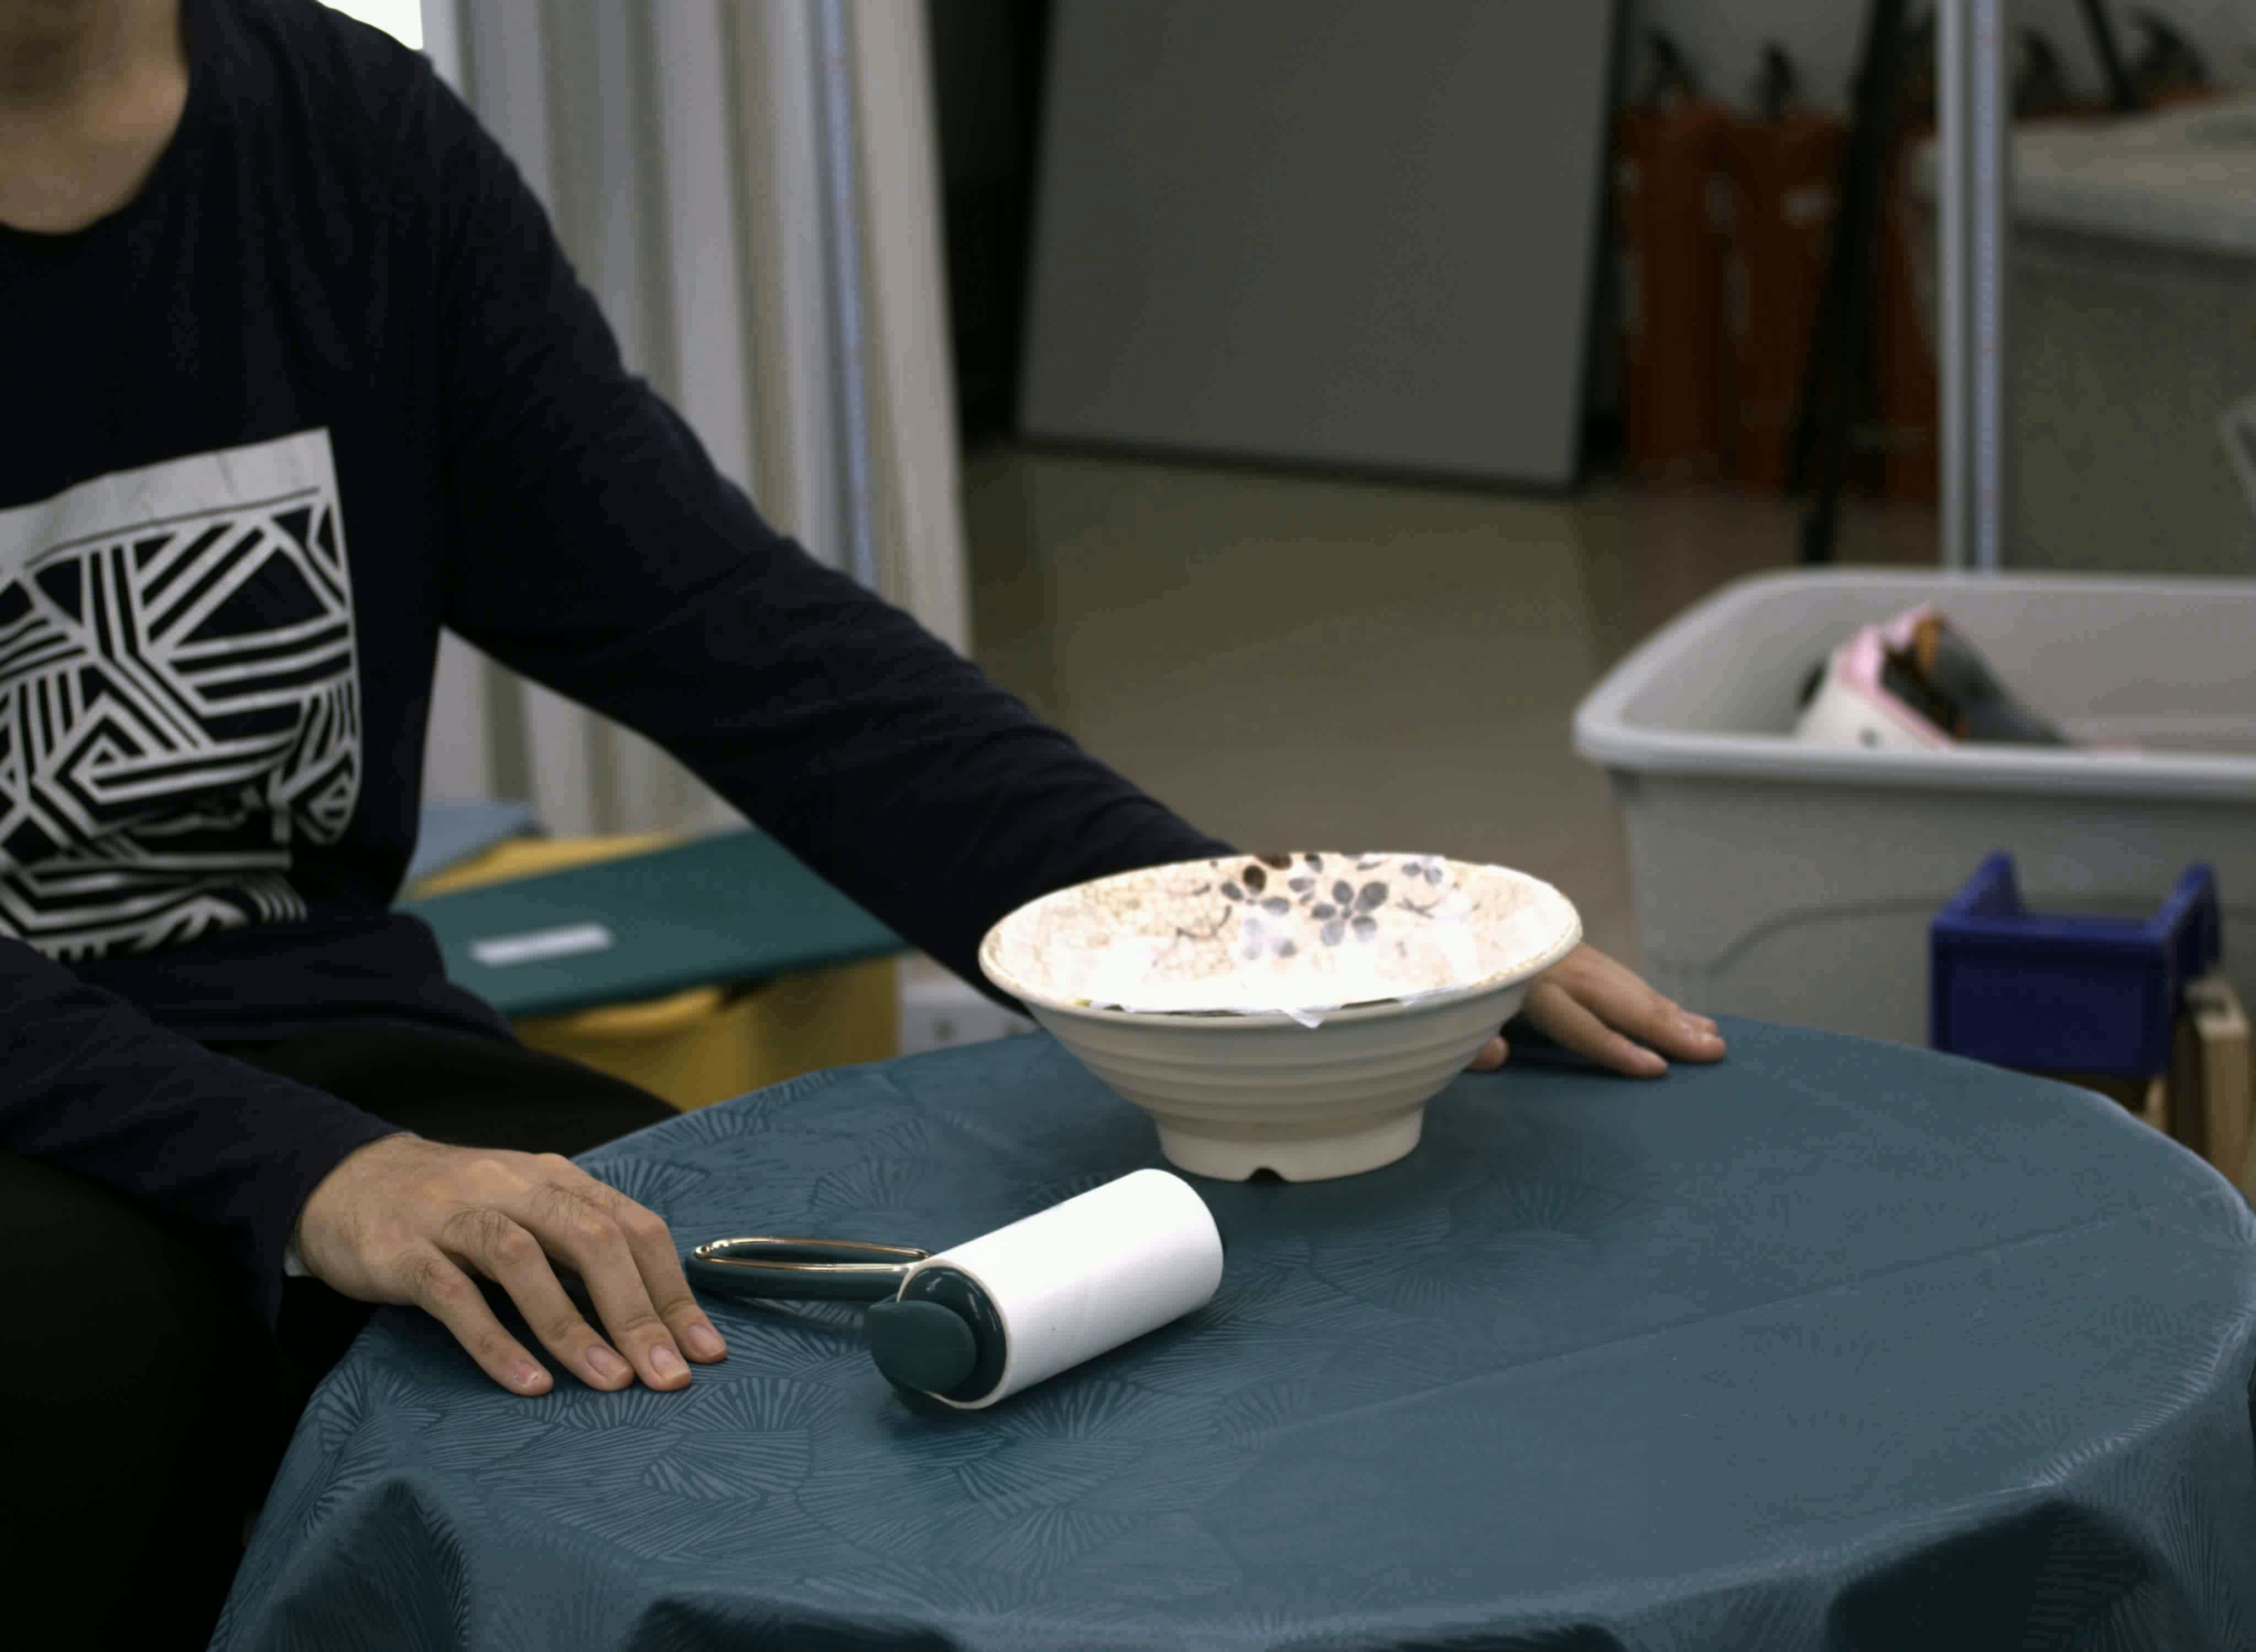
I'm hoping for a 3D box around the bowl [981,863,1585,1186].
[{"bbox_3d":[0.054,0.072,1.800,0.201,0.079,0.204,-4,12,0],"label":"bowl"}]

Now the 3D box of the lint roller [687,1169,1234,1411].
[{"bbox_3d":[-0.071,0.135,1.655,0.181,0.049,0.132,3,15,41],"label":"lint roller"}]
